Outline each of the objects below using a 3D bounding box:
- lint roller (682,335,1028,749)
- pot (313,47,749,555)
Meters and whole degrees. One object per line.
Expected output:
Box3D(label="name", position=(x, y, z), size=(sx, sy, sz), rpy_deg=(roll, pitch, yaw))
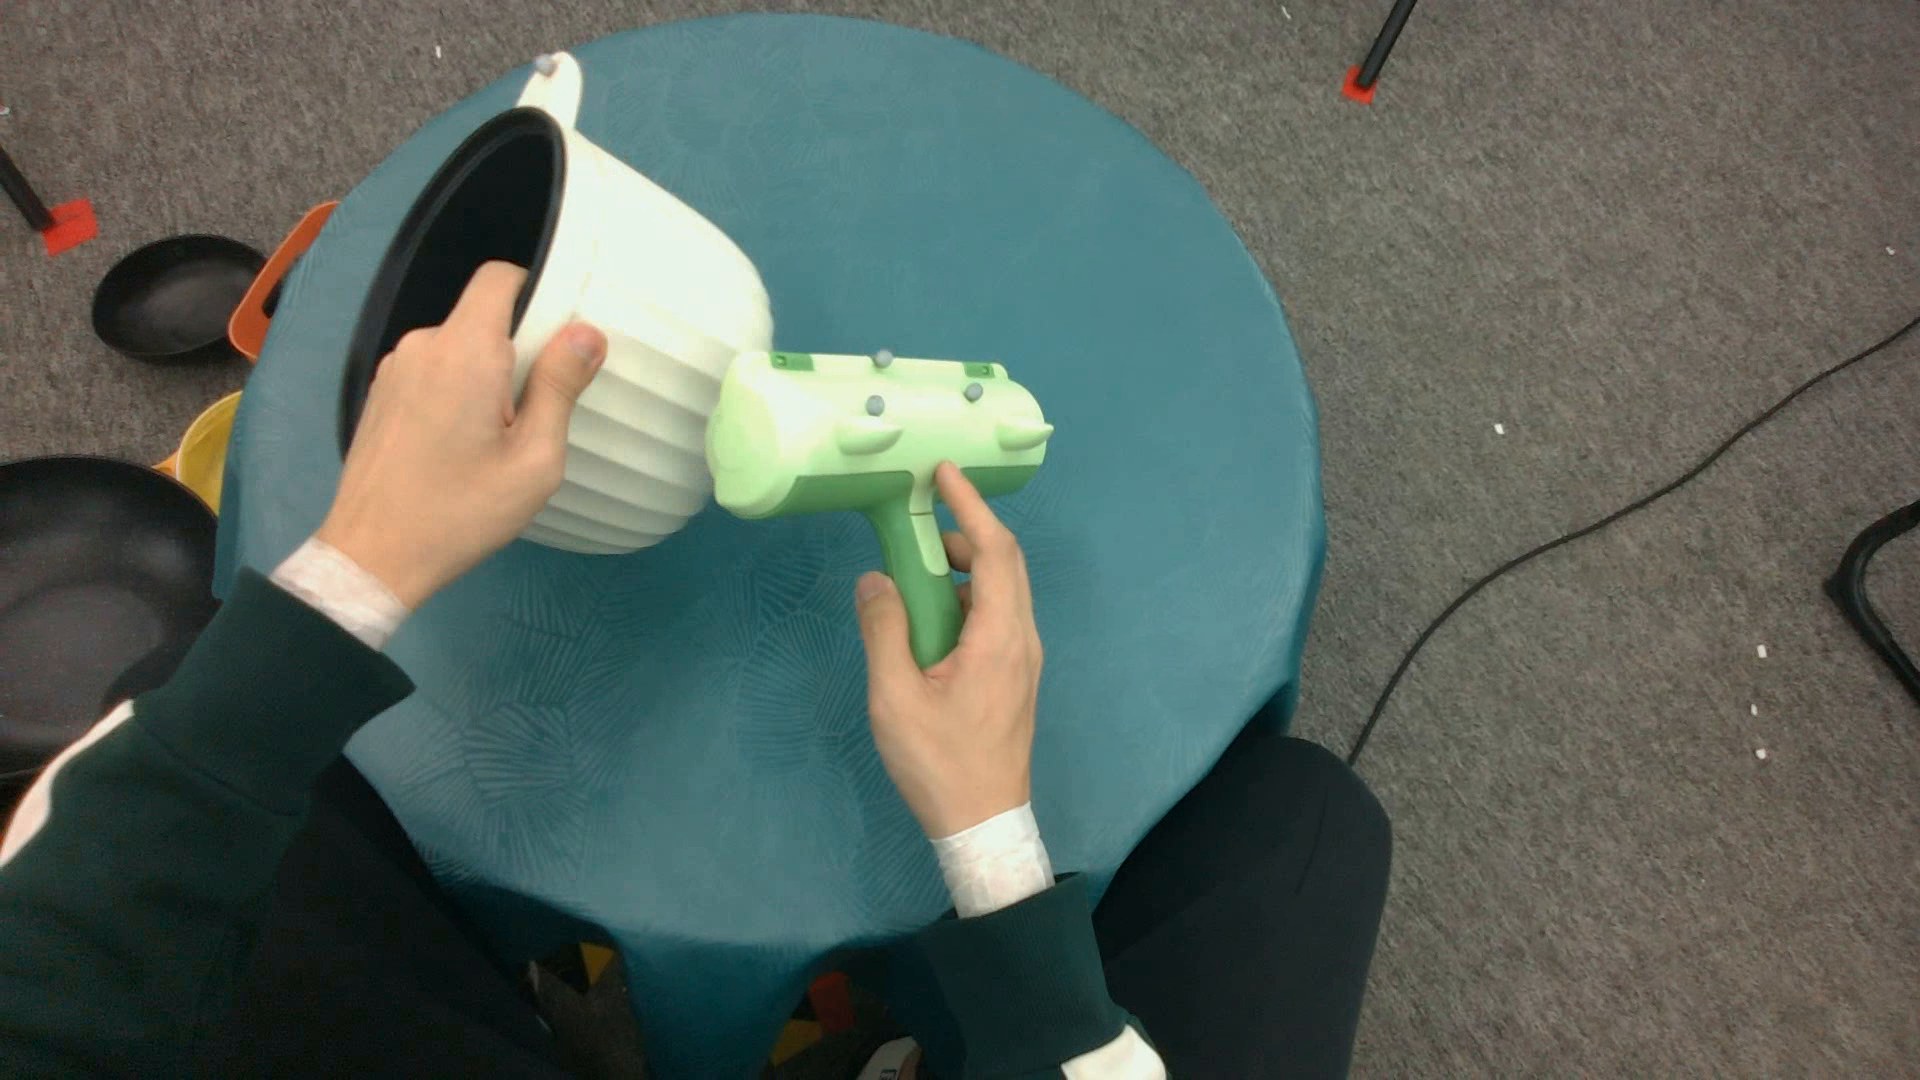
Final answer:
Box3D(label="lint roller", position=(-0.018, -0.003, 0.612), size=(0.199, 0.082, 0.183), rpy_deg=(-9, 76, -56))
Box3D(label="pot", position=(-0.198, -0.089, 0.650), size=(0.190, 0.142, 0.240), rpy_deg=(13, 81, 45))
